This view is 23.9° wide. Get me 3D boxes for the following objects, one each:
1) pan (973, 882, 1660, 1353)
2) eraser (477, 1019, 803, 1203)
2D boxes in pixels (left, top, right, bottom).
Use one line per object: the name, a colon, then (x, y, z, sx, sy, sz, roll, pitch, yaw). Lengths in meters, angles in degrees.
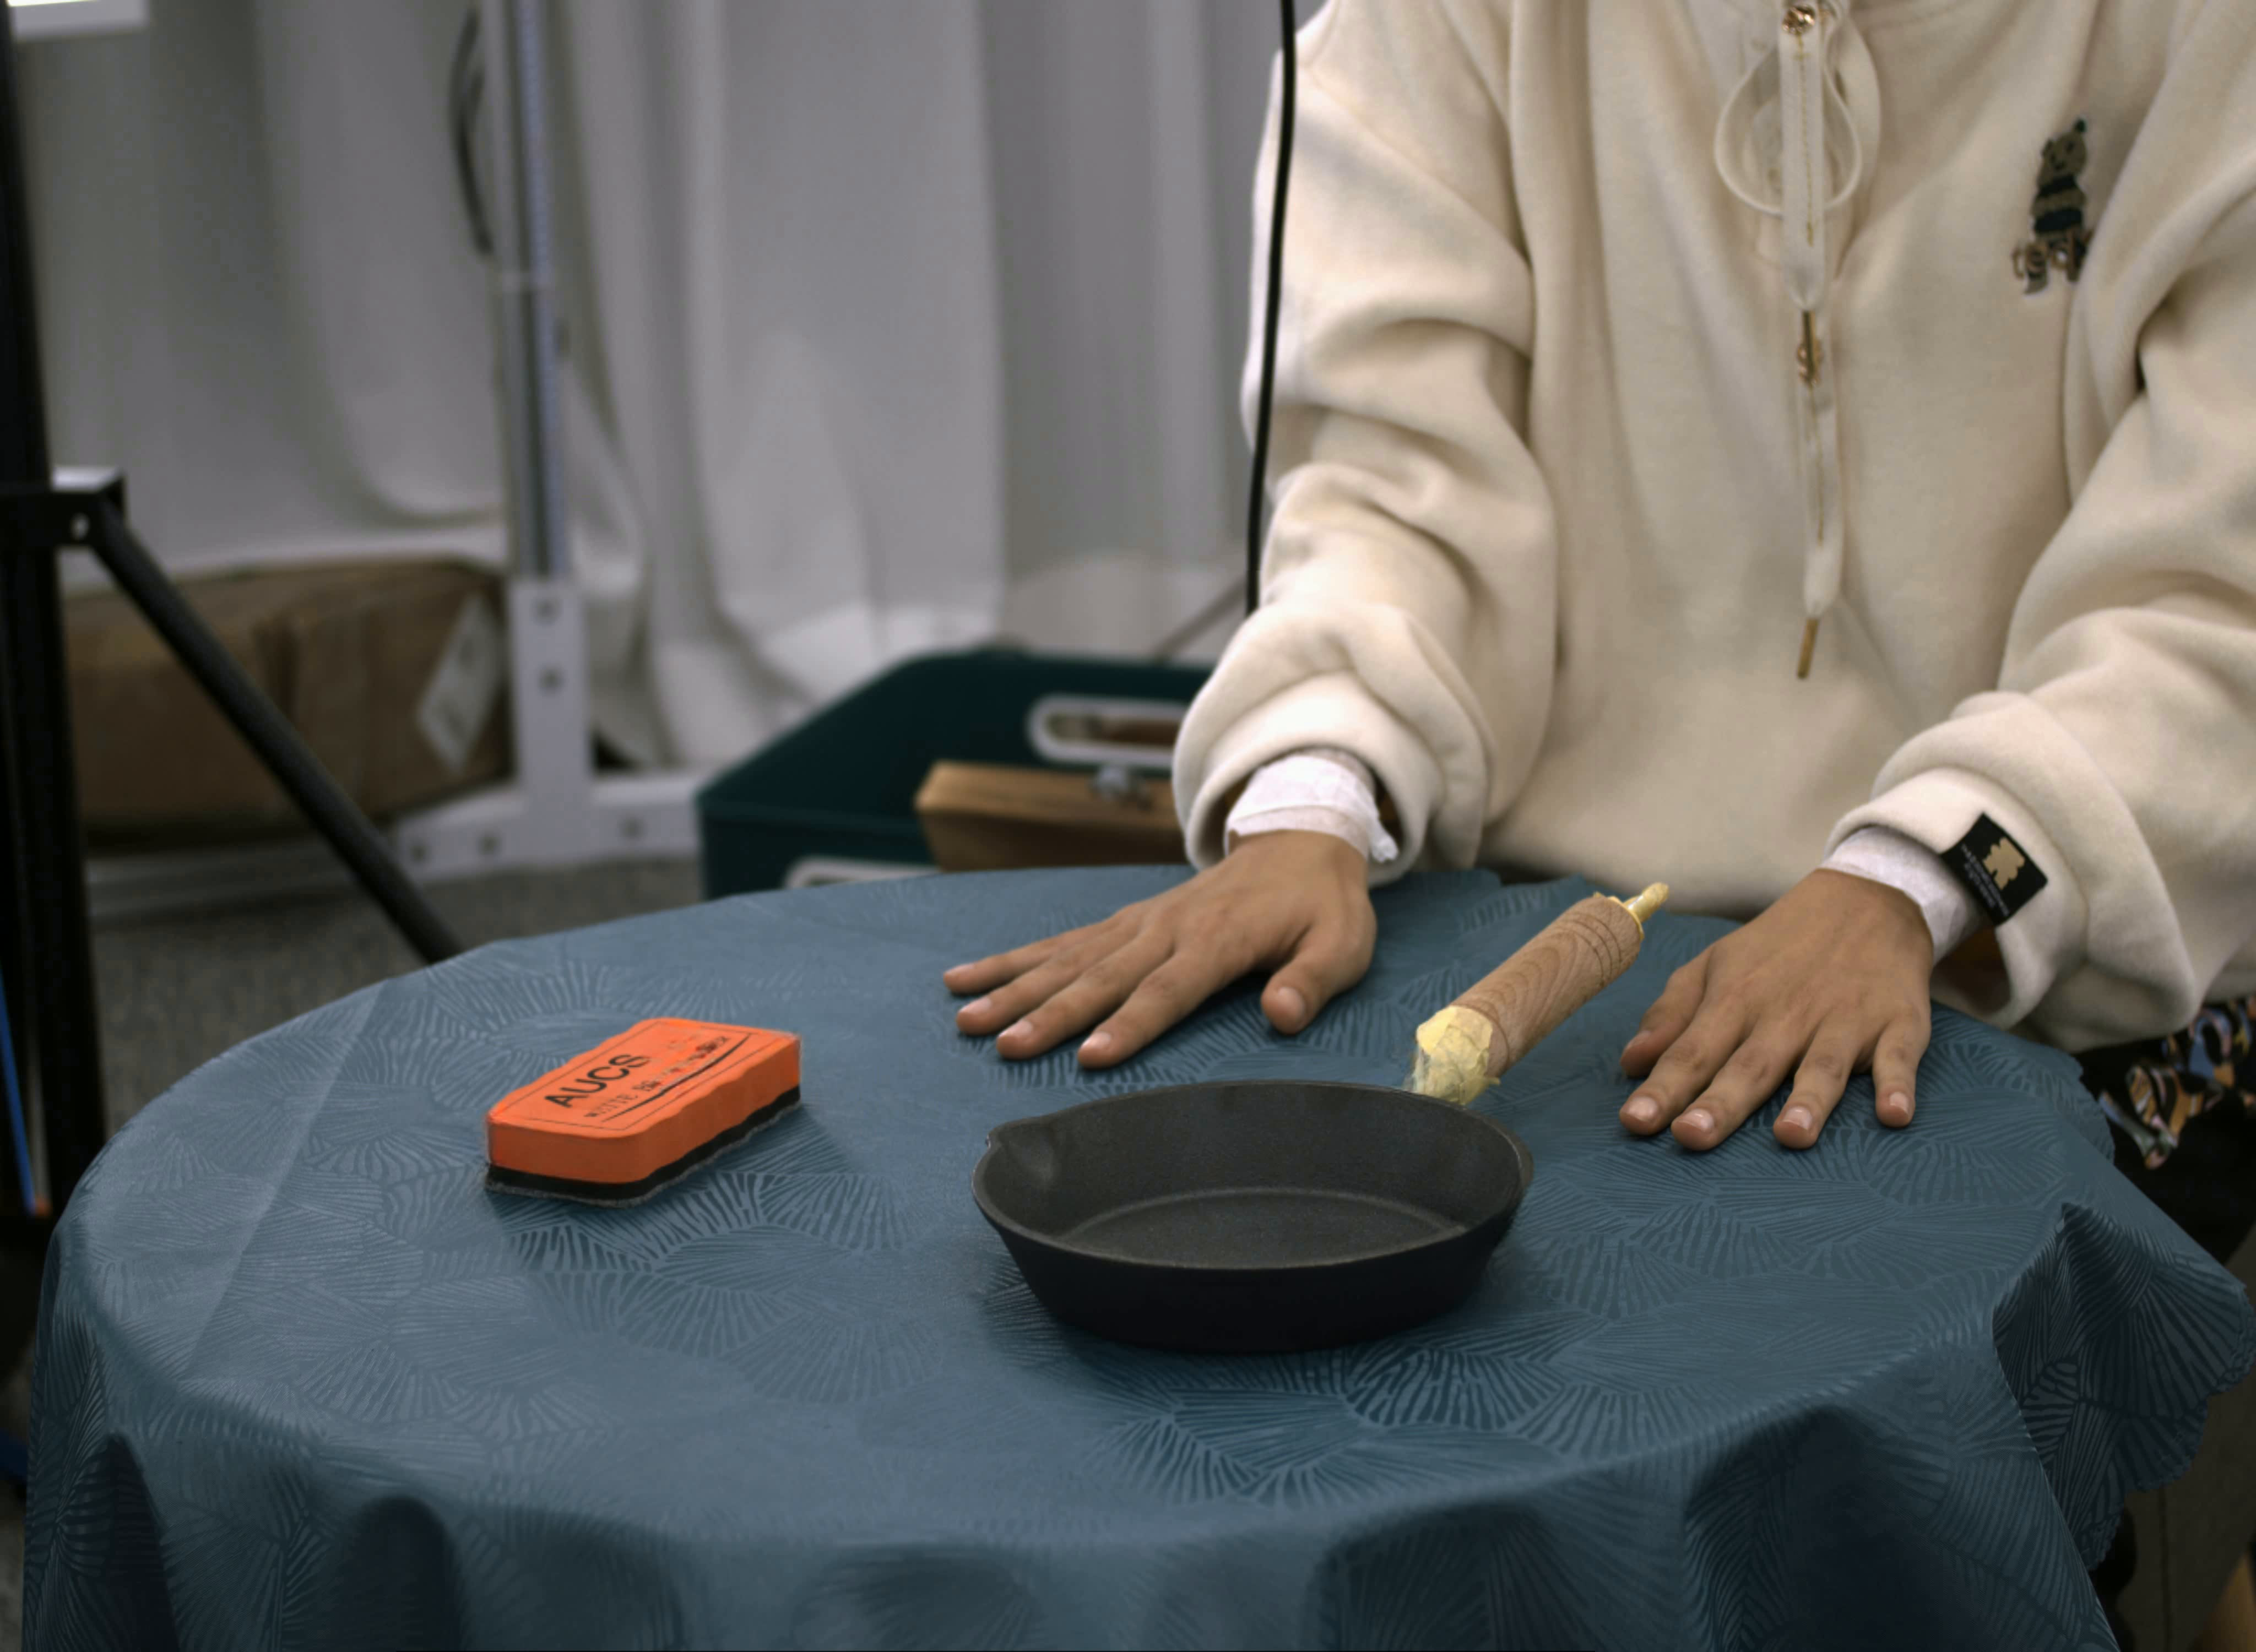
pan: (0.080, 0.081, 1.545, 0.172, 0.049, 0.318, 7, 20, 33)
eraser: (-0.147, 0.086, 1.617, 0.060, 0.023, 0.106, 5, 18, 28)
